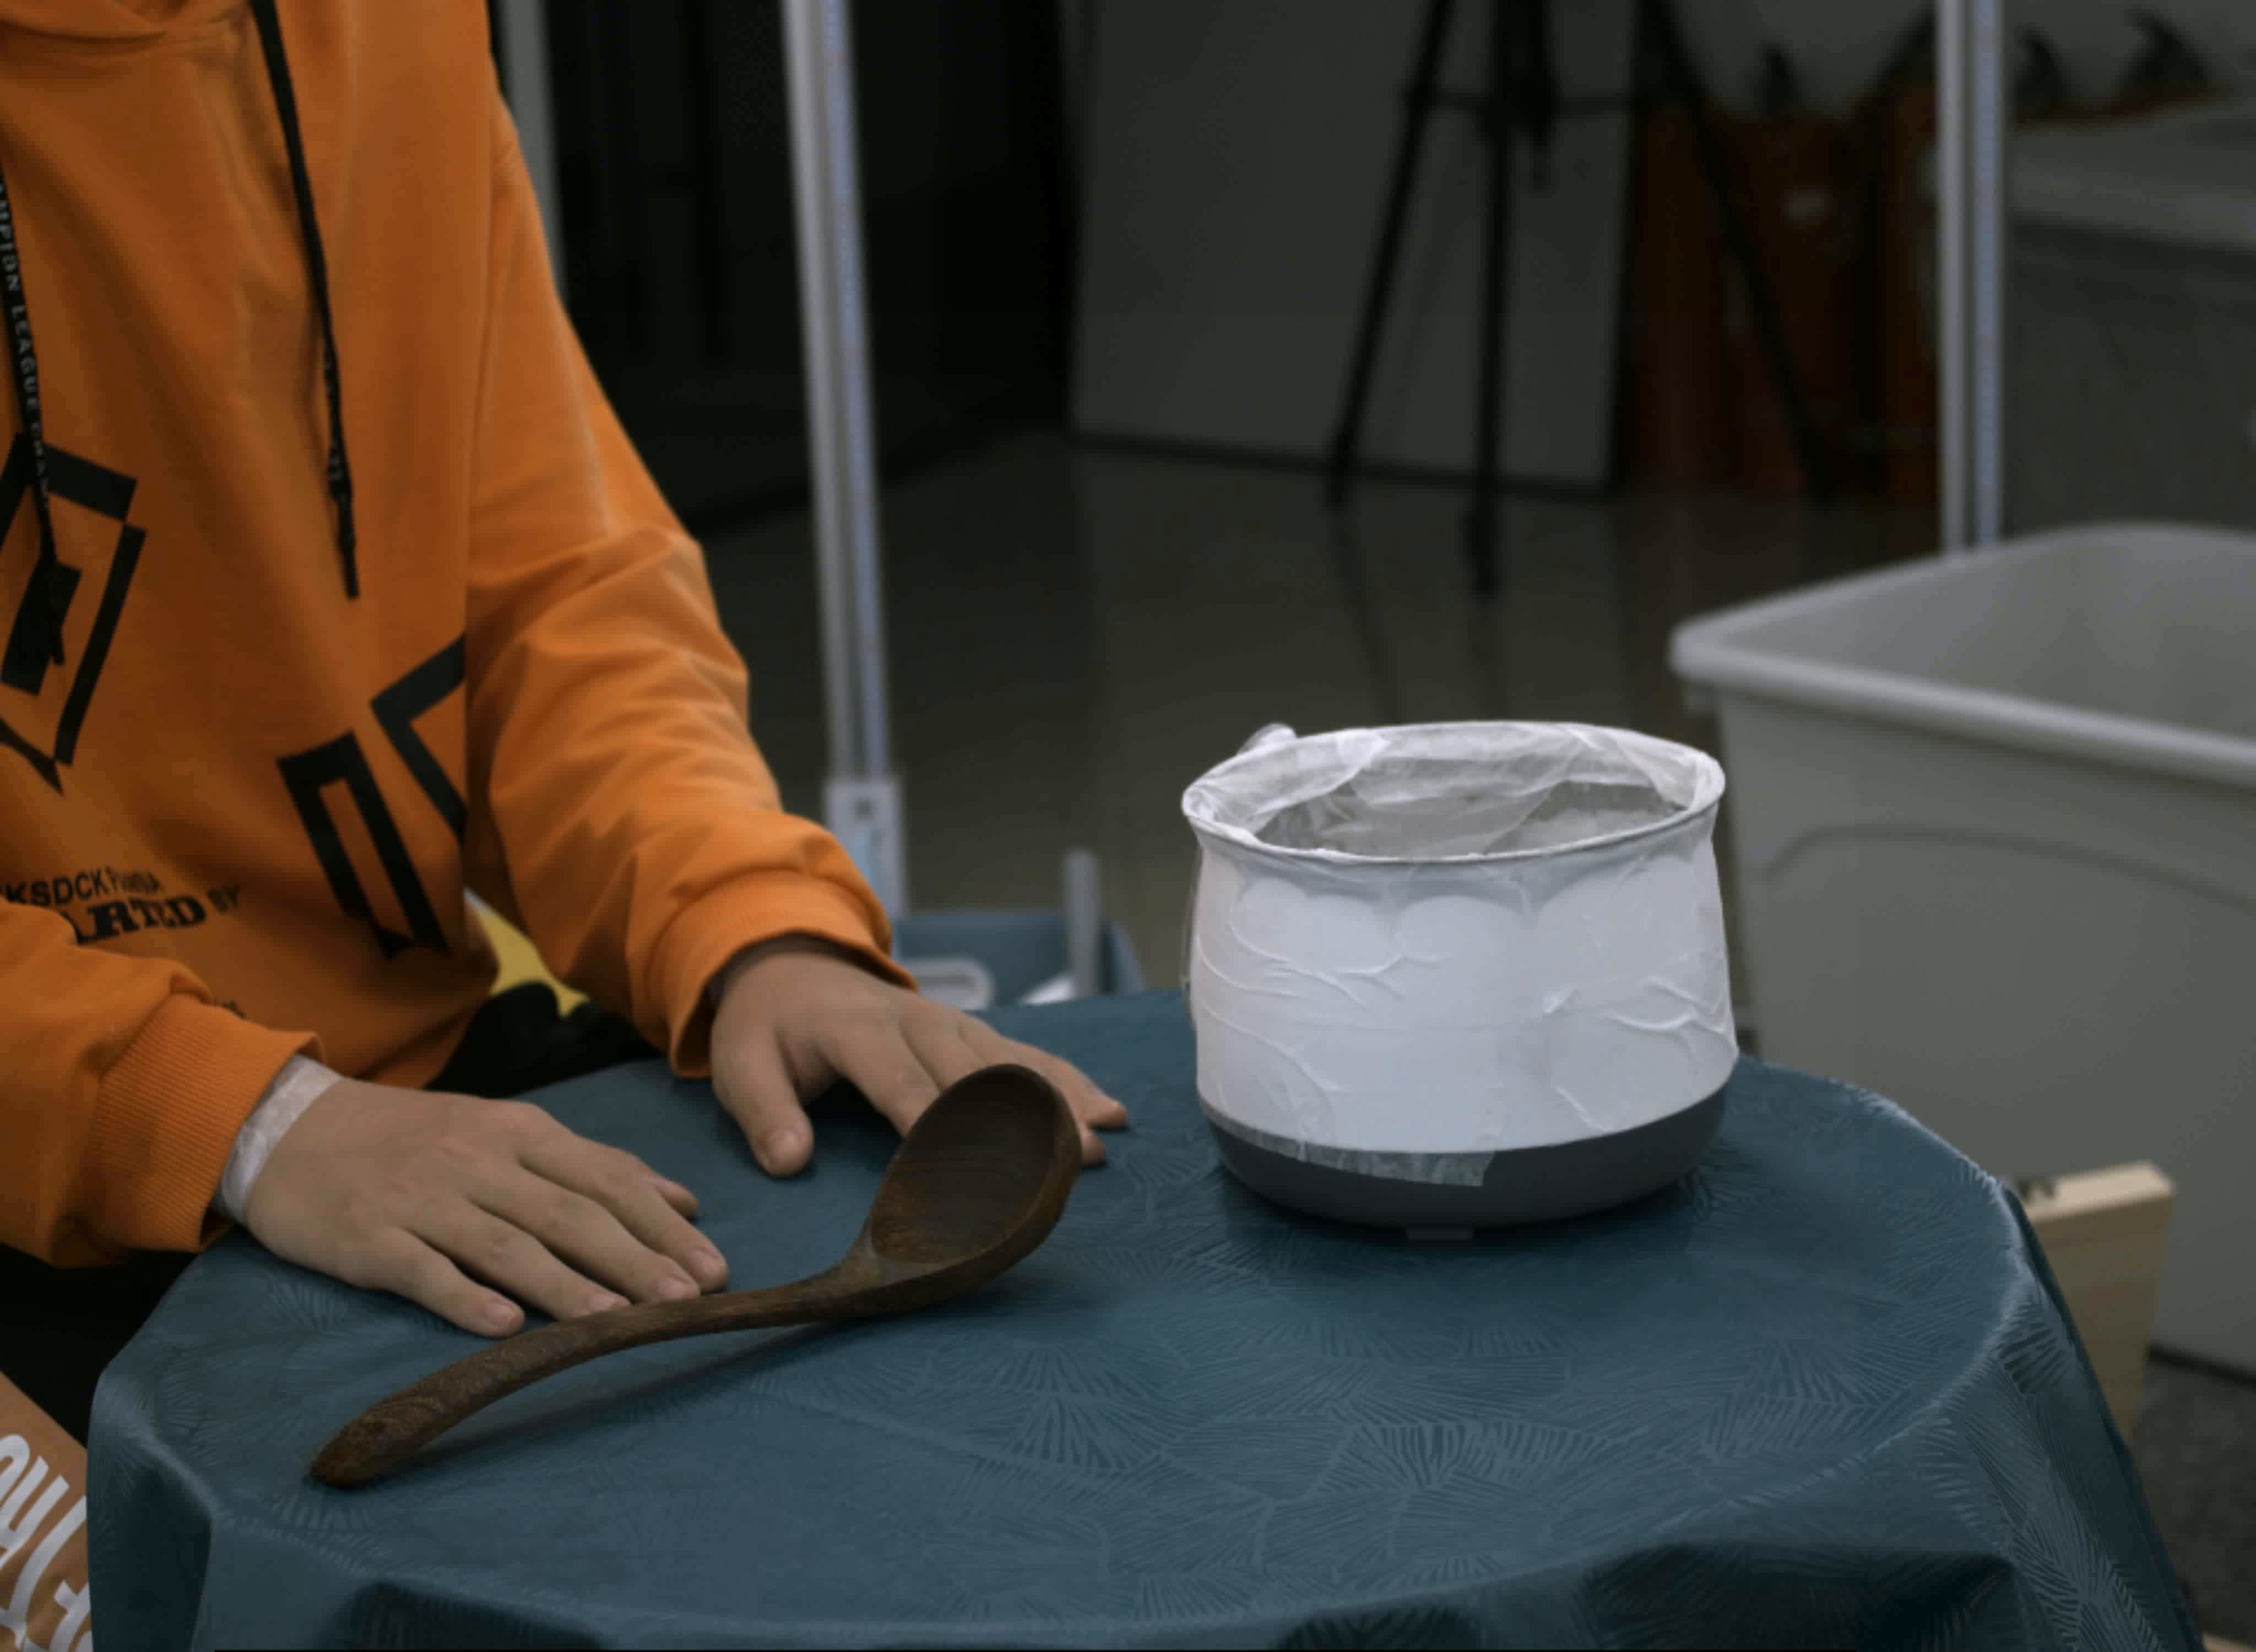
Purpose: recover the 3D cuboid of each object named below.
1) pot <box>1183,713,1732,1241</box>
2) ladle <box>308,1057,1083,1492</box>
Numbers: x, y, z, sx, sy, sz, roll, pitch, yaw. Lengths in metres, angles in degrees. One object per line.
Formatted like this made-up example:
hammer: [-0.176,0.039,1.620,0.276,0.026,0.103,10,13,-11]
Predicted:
pot: [0.092,0.043,1.771,0.175,0.138,0.236,-12,16,-33]
ladle: [-0.128,0.131,1.624,0.268,0.072,0.077,-13,14,-36]
